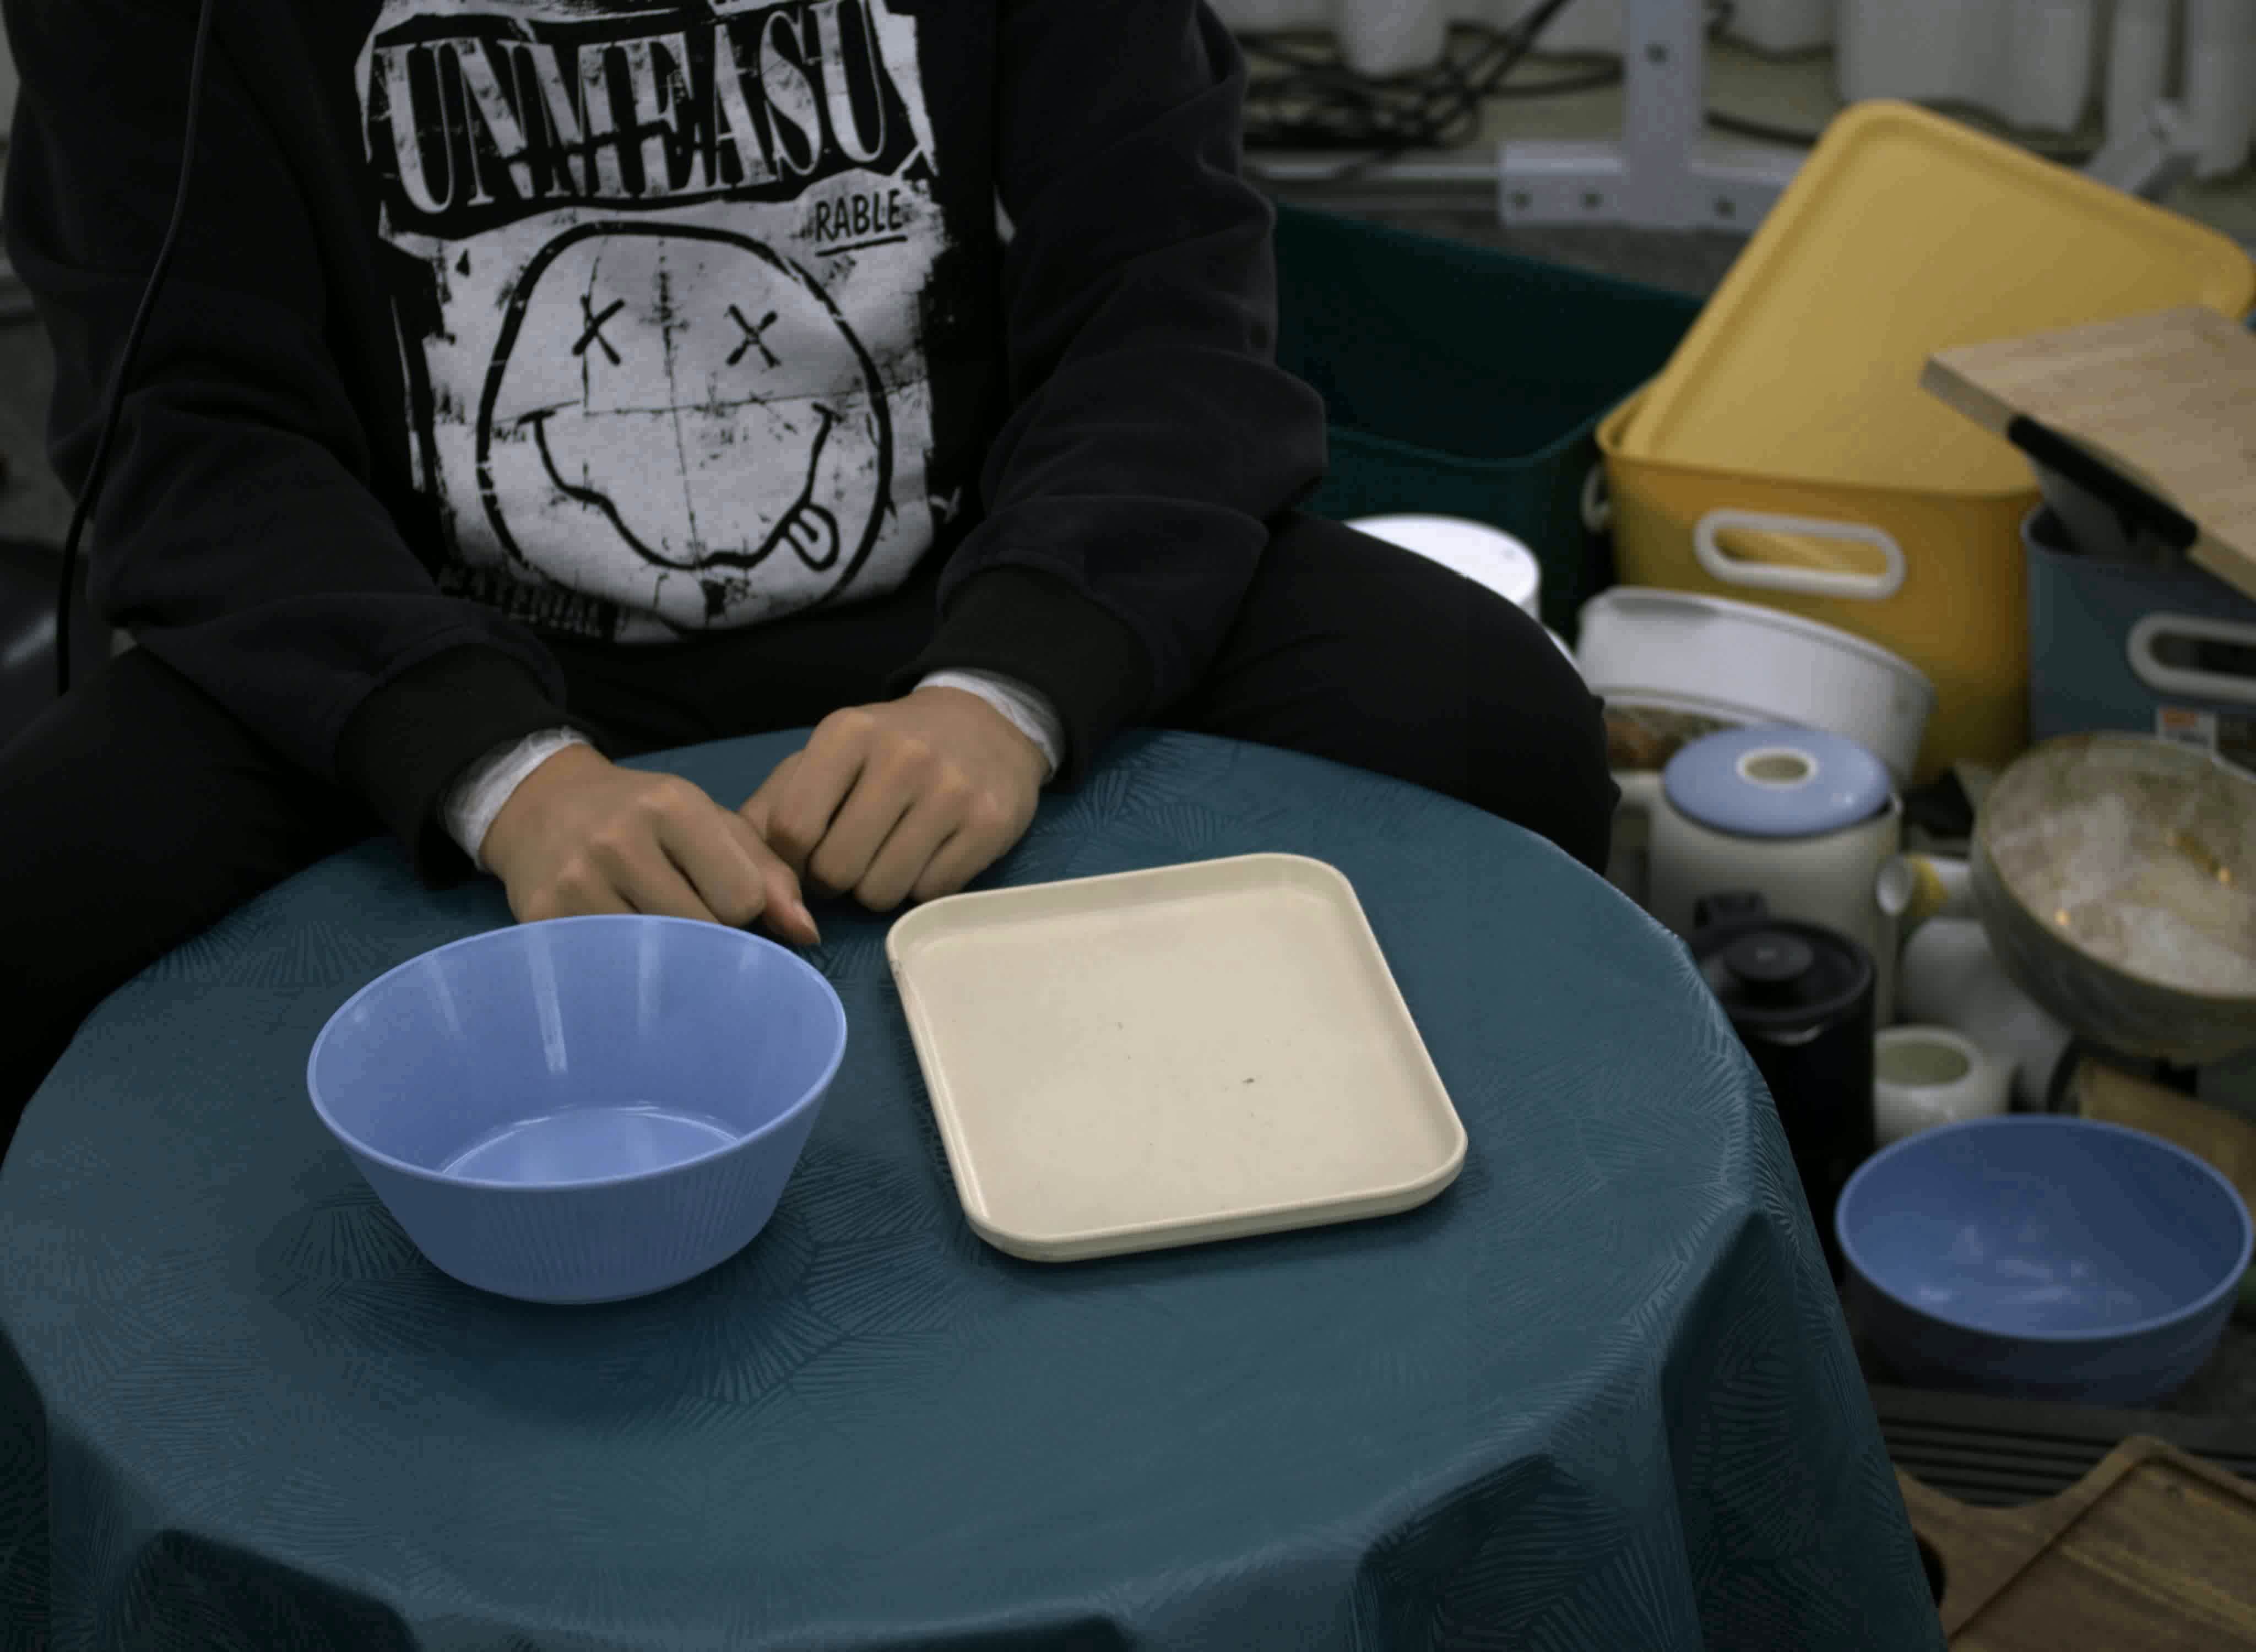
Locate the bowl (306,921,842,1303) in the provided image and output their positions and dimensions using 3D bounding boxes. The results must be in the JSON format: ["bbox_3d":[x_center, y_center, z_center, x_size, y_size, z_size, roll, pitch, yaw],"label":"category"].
[{"bbox_3d":[-0.179,0.100,1.845,0.175,0.069,0.179,-2,27,1],"label":"bowl"}]

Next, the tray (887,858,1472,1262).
[{"bbox_3d":[0.014,0.079,1.923,0.171,0.017,0.242,-7,27,-8],"label":"tray"}]
